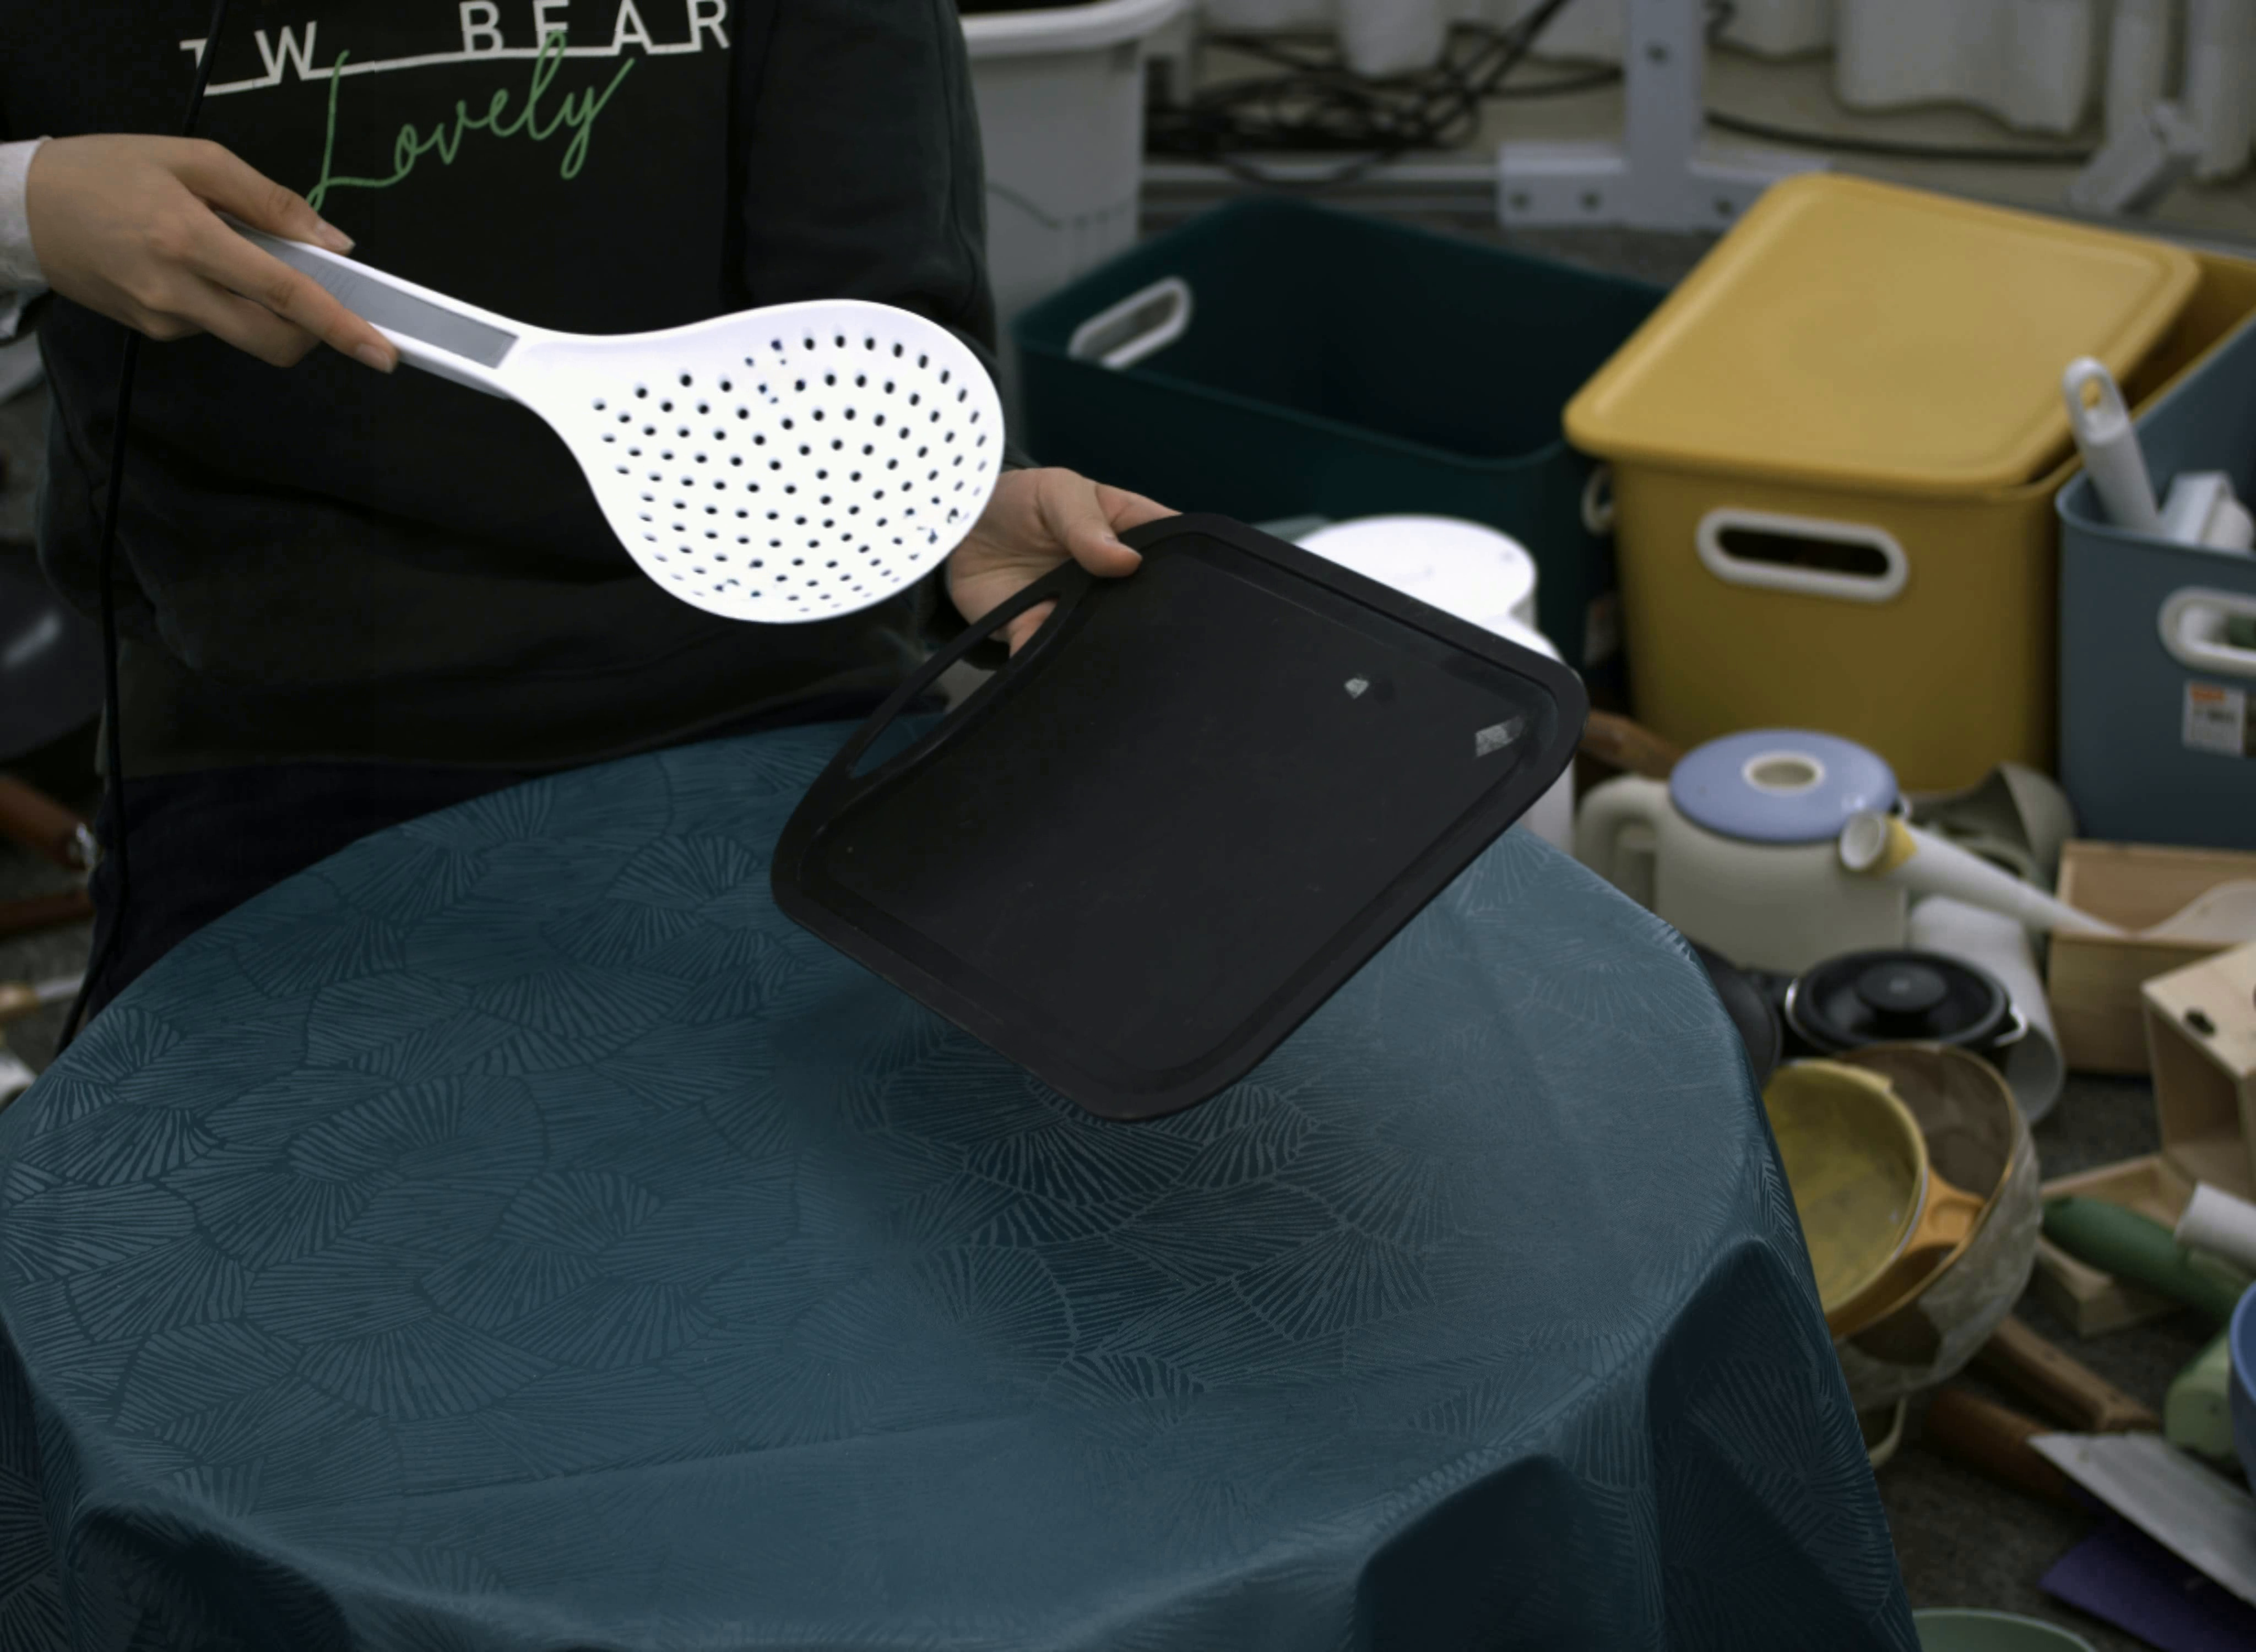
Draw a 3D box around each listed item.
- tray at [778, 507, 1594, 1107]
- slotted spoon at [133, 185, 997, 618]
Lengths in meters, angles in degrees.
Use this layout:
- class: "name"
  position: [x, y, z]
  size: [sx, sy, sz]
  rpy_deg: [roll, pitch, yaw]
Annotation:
- class: "tray"
  position: [0.007, -0.015, 1.849]
  size: [0.212, 0.010, 0.326]
  rpy_deg: [-42, 31, -13]
- class: "slotted spoon"
  position: [-0.202, -0.158, 1.960]
  size: [0.349, 0.045, 0.138]
  rpy_deg: [24, 61, 19]
